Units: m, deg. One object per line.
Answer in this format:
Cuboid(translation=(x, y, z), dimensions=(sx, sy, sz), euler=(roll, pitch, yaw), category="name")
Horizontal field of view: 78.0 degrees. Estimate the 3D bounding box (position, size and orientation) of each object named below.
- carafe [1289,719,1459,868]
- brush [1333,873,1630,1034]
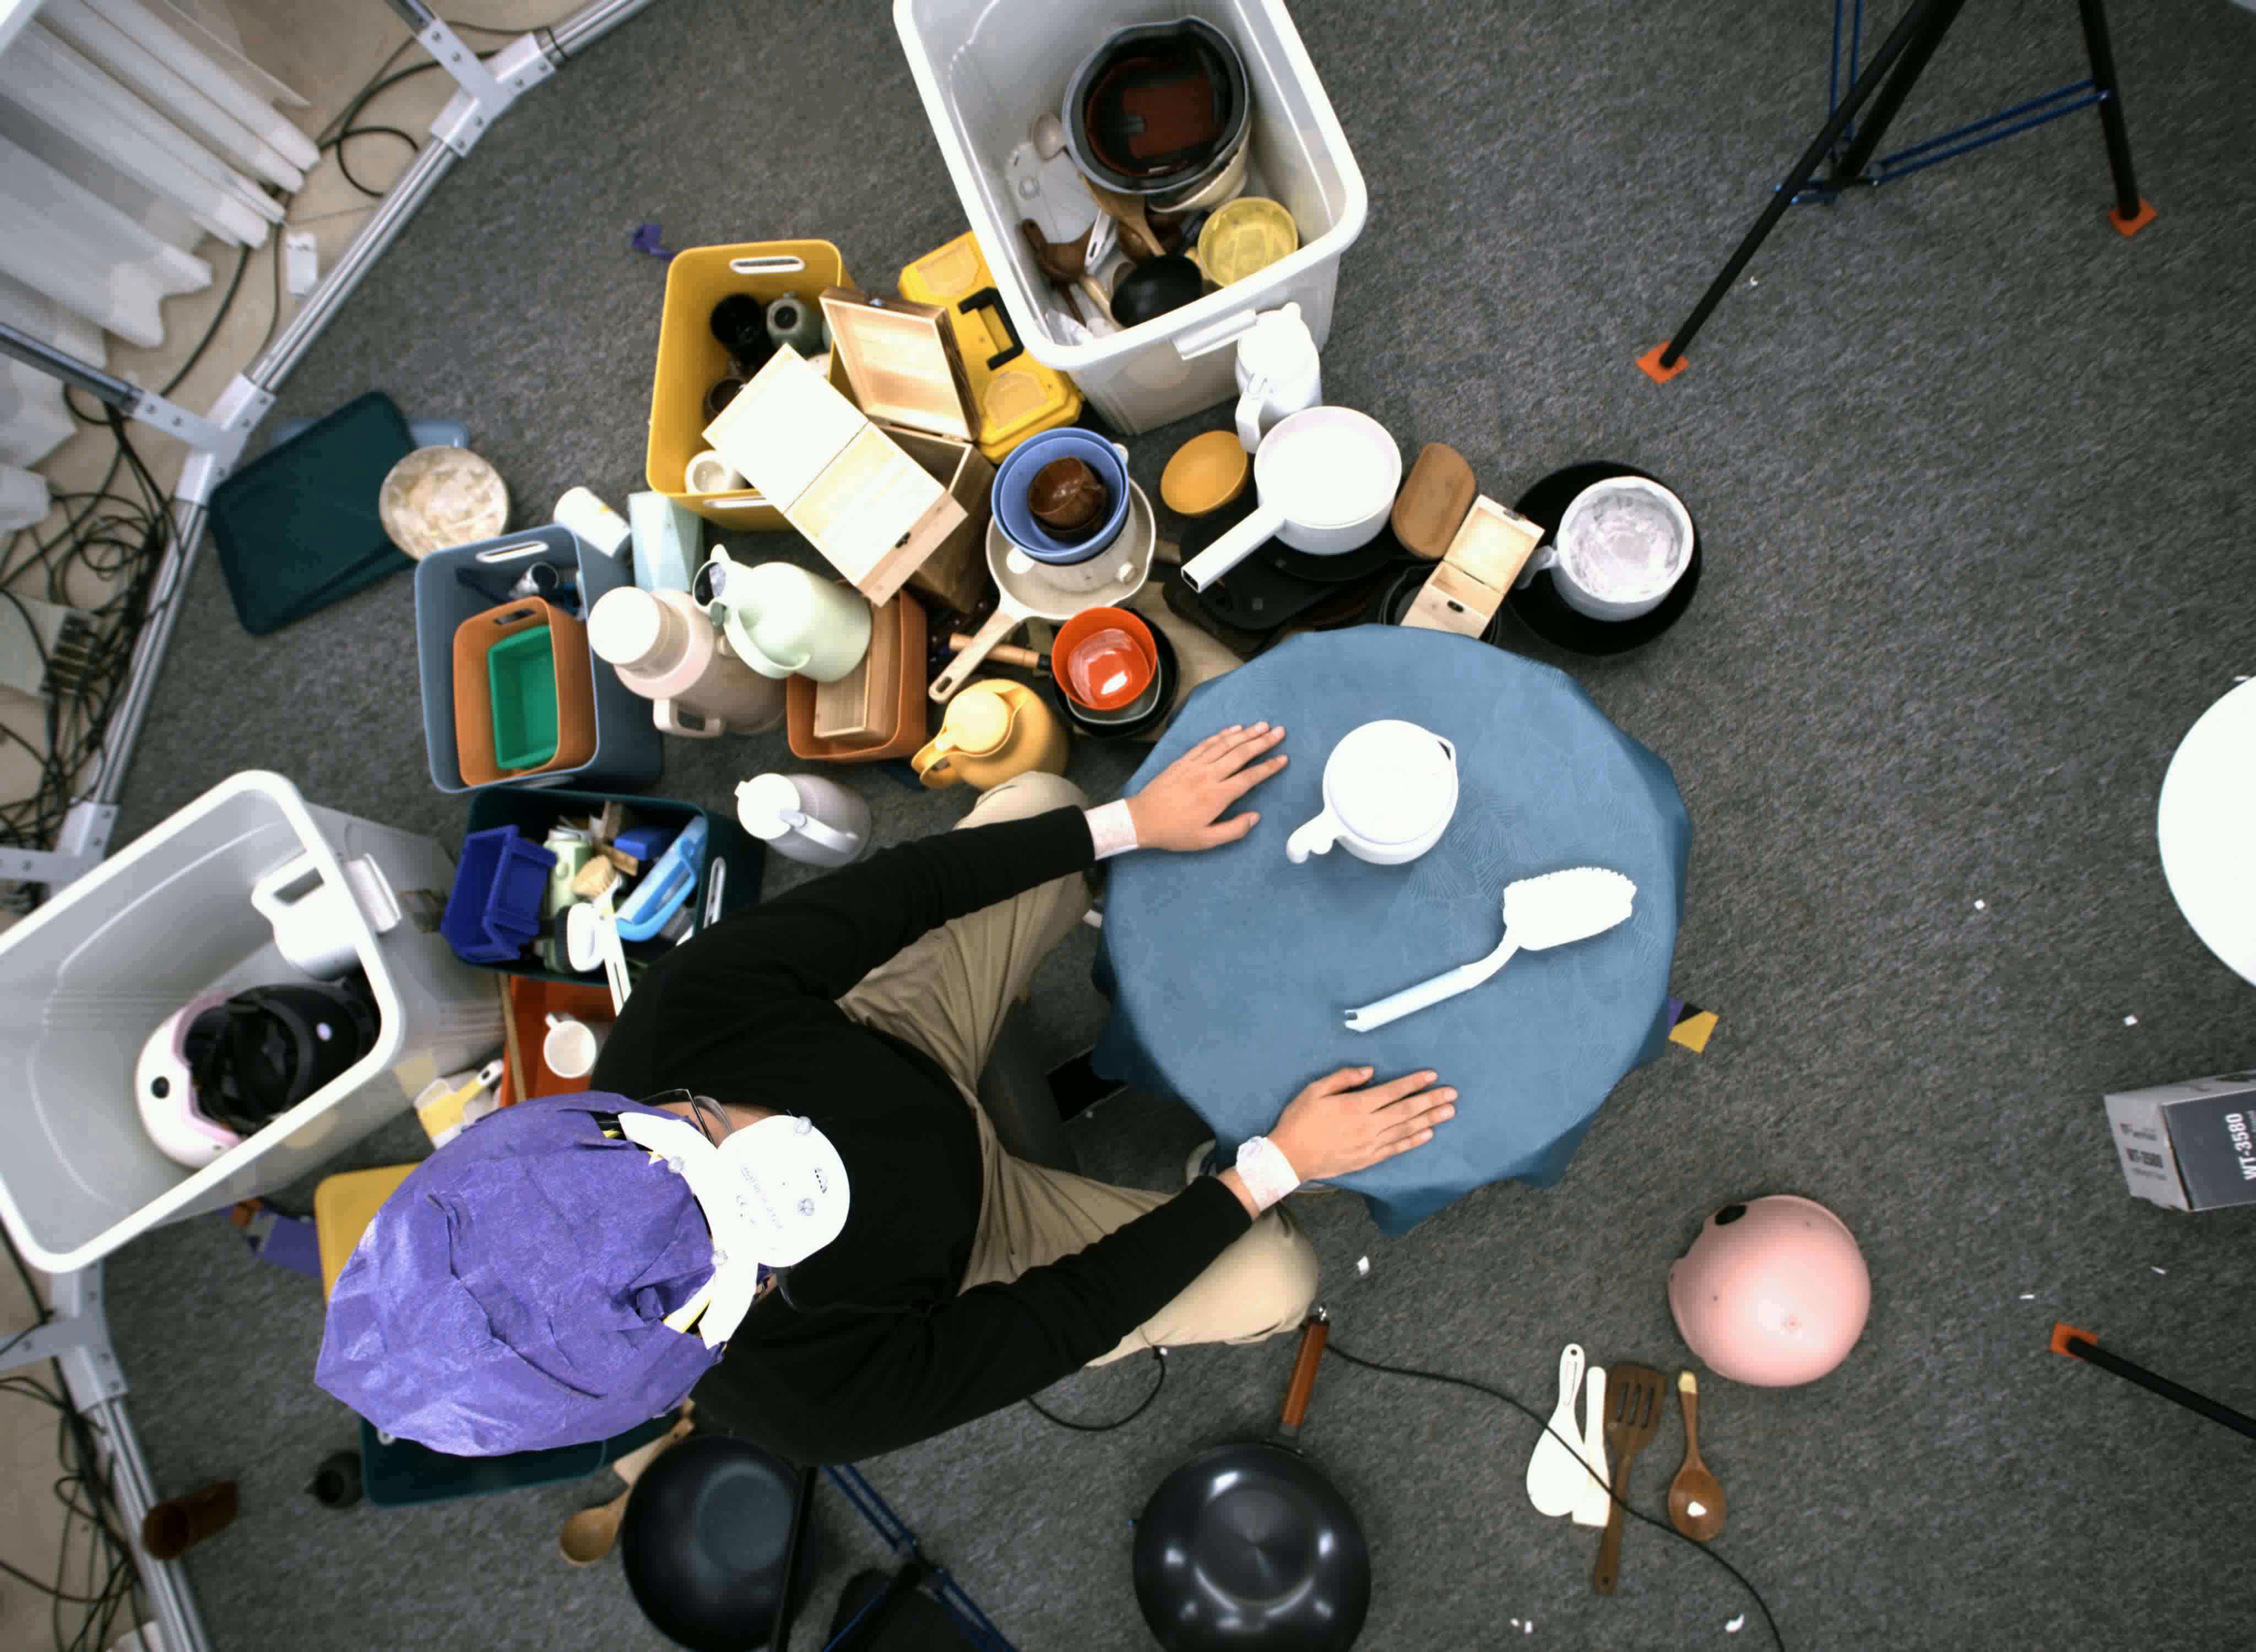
Cuboid(translation=(0.240, -0.020, 1.383), dimensions=(0.192, 0.182, 0.131), euler=(-34, 80, 7), category="carafe")
Cuboid(translation=(0.354, 0.121, 1.401), dimensions=(0.327, 0.083, 0.084), euler=(-23, 88, 7), category="brush")
